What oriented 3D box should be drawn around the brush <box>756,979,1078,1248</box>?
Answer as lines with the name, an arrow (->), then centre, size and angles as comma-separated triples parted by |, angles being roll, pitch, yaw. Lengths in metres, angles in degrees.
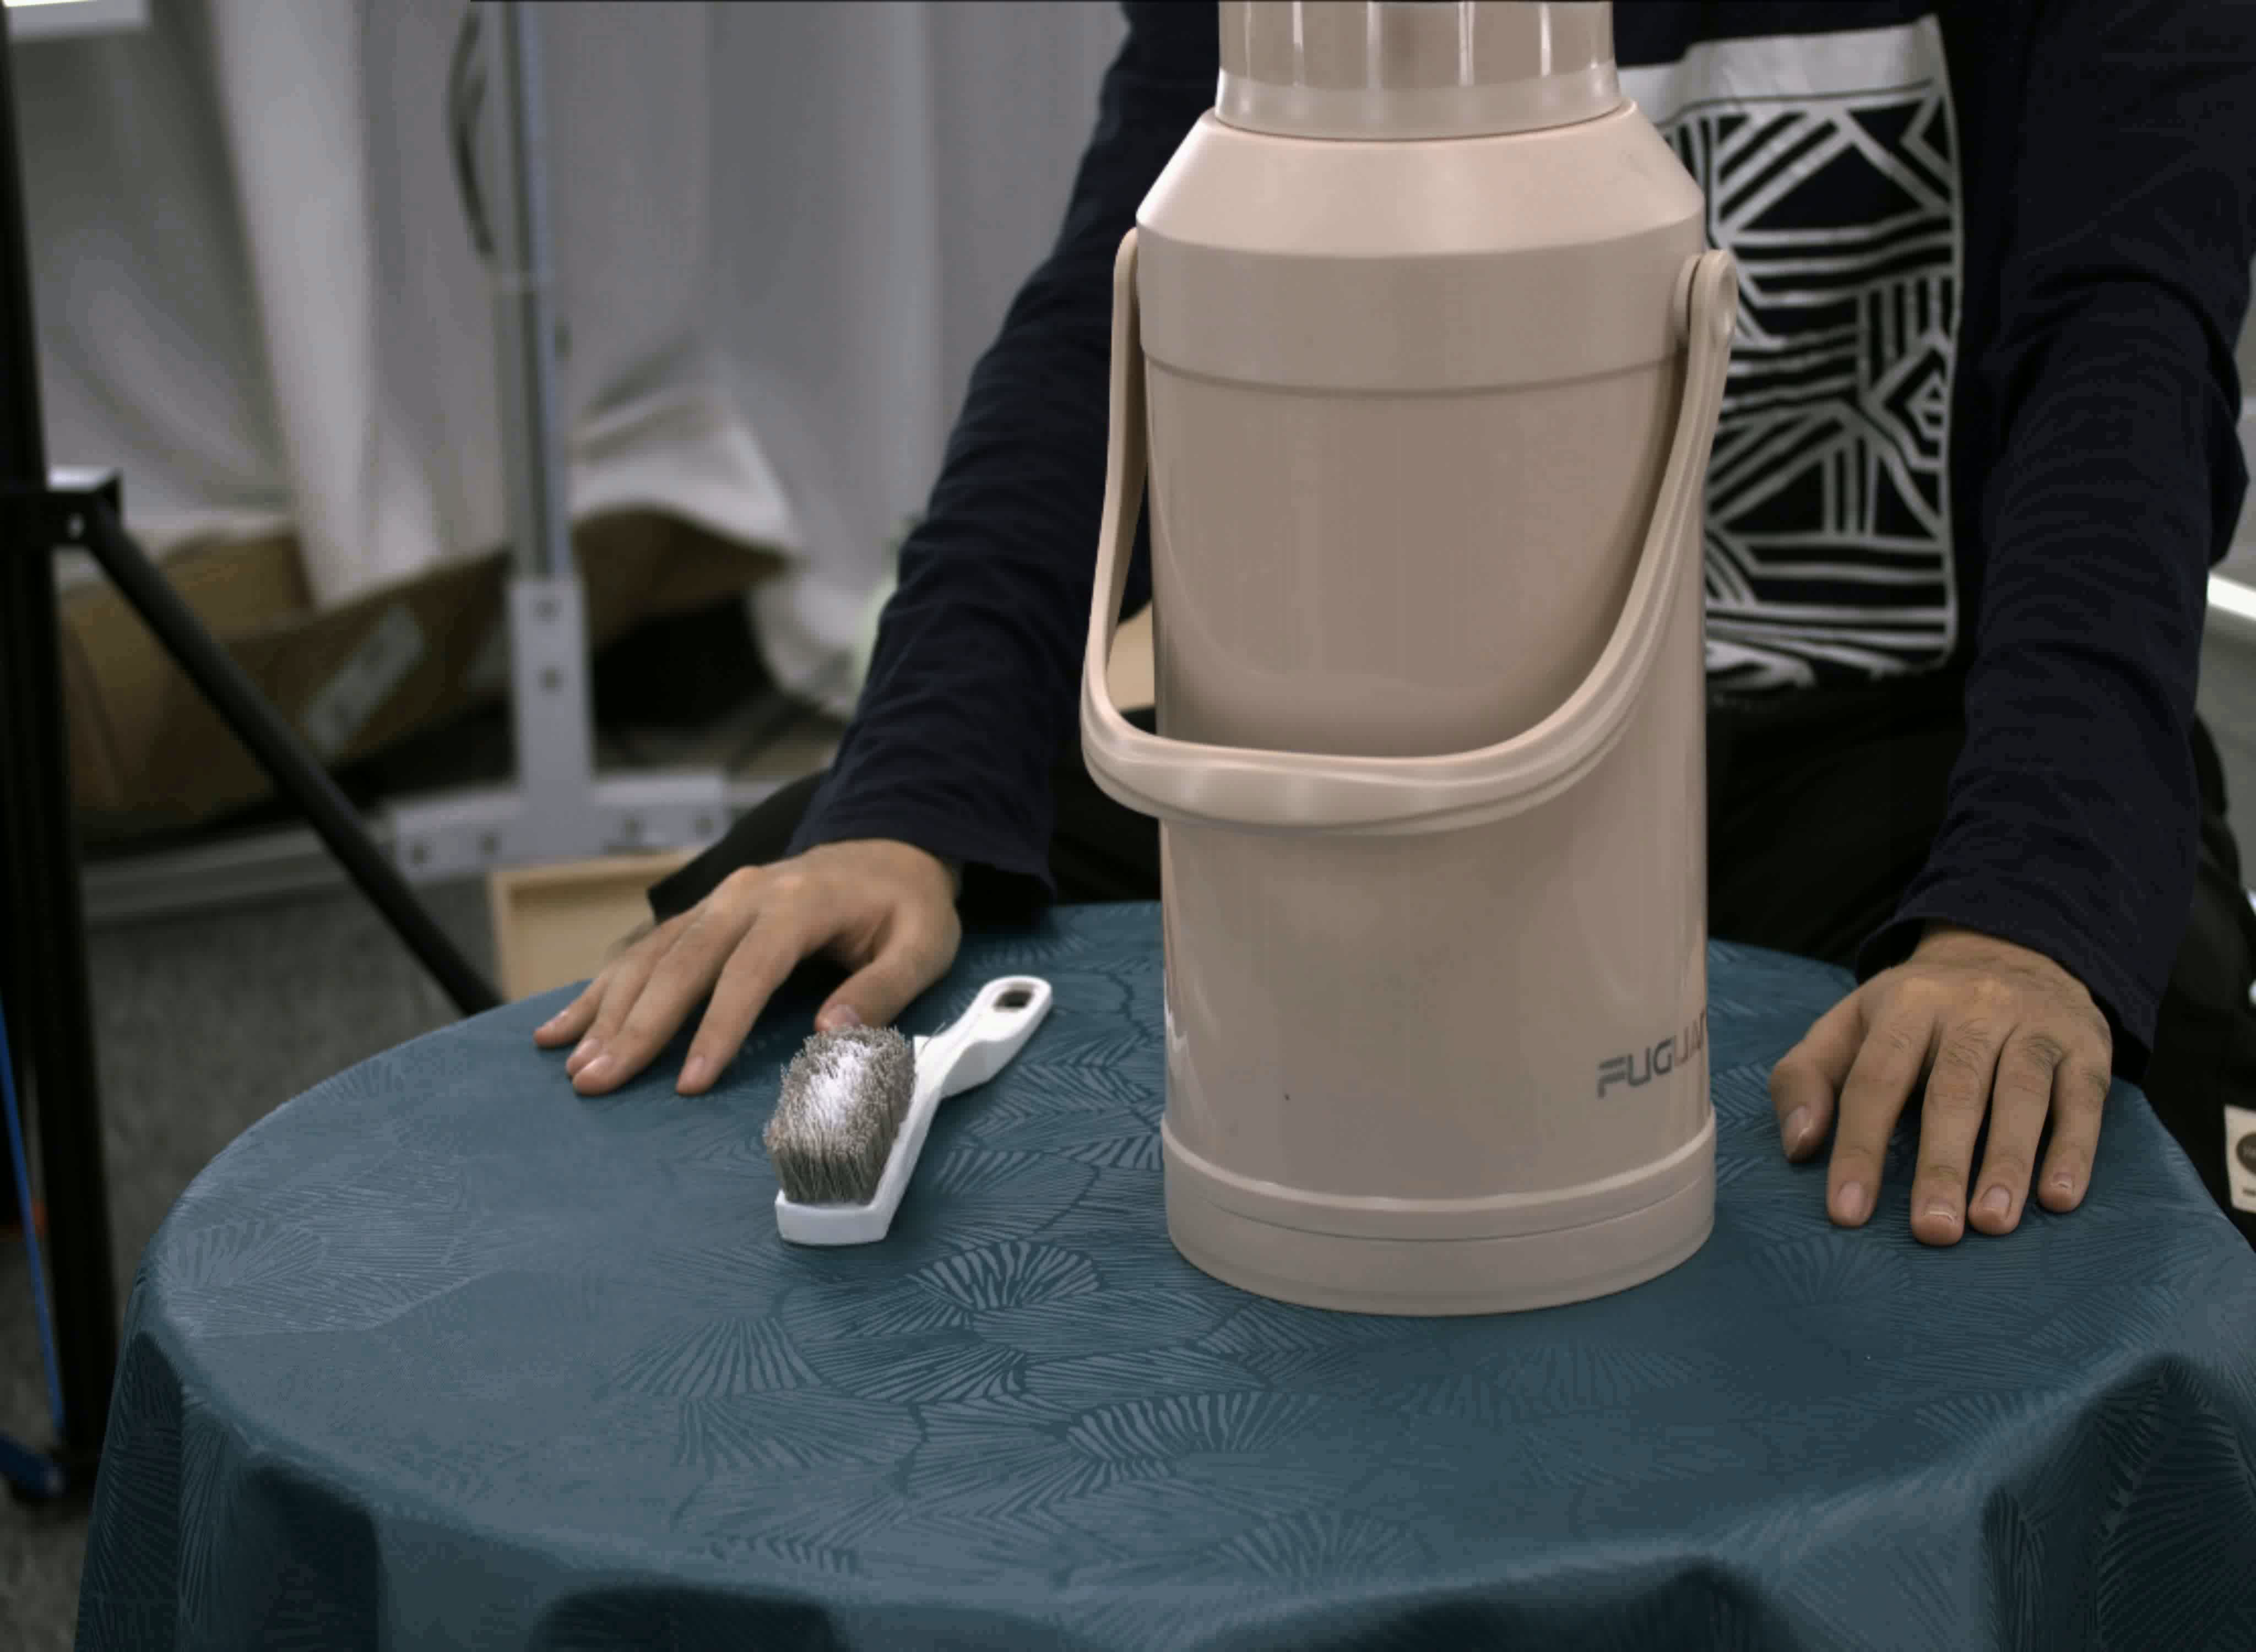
brush -> -0.060, 0.068, 1.624 | 0.035, 0.050, 0.241 | -2, 15, 17

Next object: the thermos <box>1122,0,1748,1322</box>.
thermos -> 0.092, -0.080, 1.485 | 0.178, 0.406, 0.204 | 3, 15, 23
